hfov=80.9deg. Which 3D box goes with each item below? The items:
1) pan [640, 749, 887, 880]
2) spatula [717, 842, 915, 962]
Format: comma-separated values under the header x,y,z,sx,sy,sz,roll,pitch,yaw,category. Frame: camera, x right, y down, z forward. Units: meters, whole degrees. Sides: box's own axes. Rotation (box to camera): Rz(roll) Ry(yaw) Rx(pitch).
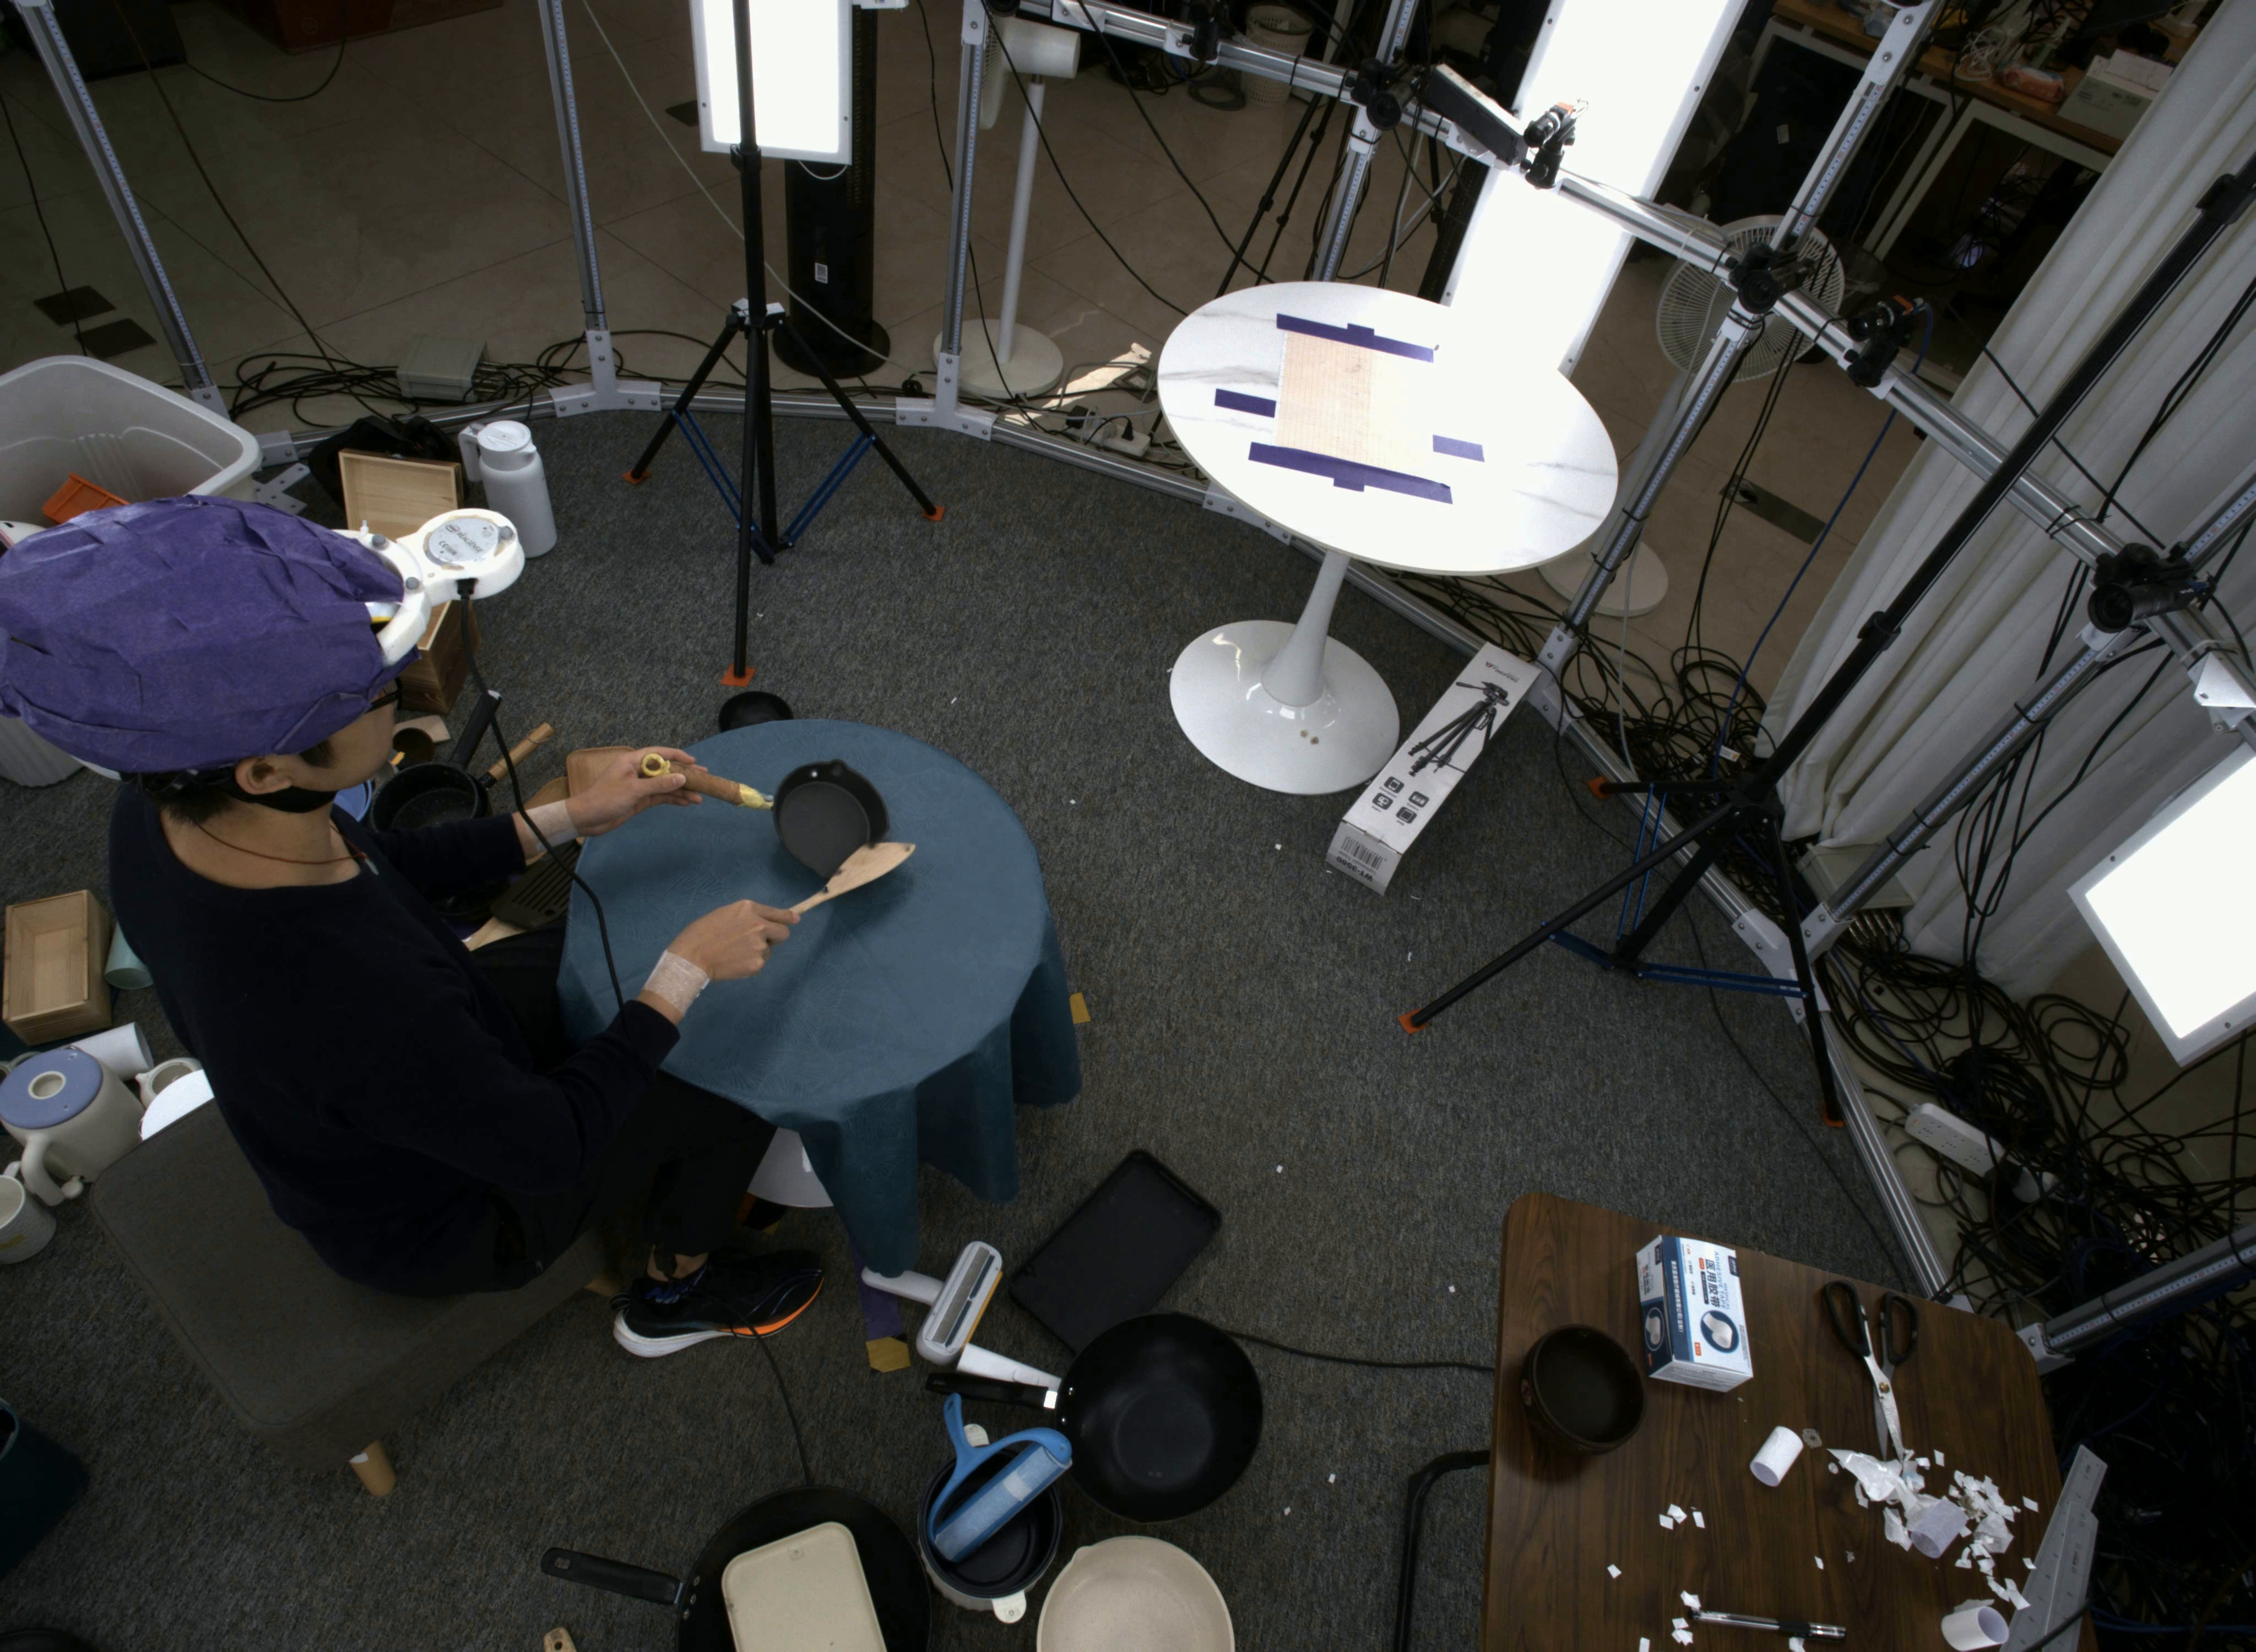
x,y,z,sx,sy,sz,roll,pitch,yaw,category
-0.456,-0.034,1.627,0.332,0.049,0.167,20,60,-31,pan
-0.379,0.084,1.566,0.077,0.017,0.328,7,24,26,spatula
